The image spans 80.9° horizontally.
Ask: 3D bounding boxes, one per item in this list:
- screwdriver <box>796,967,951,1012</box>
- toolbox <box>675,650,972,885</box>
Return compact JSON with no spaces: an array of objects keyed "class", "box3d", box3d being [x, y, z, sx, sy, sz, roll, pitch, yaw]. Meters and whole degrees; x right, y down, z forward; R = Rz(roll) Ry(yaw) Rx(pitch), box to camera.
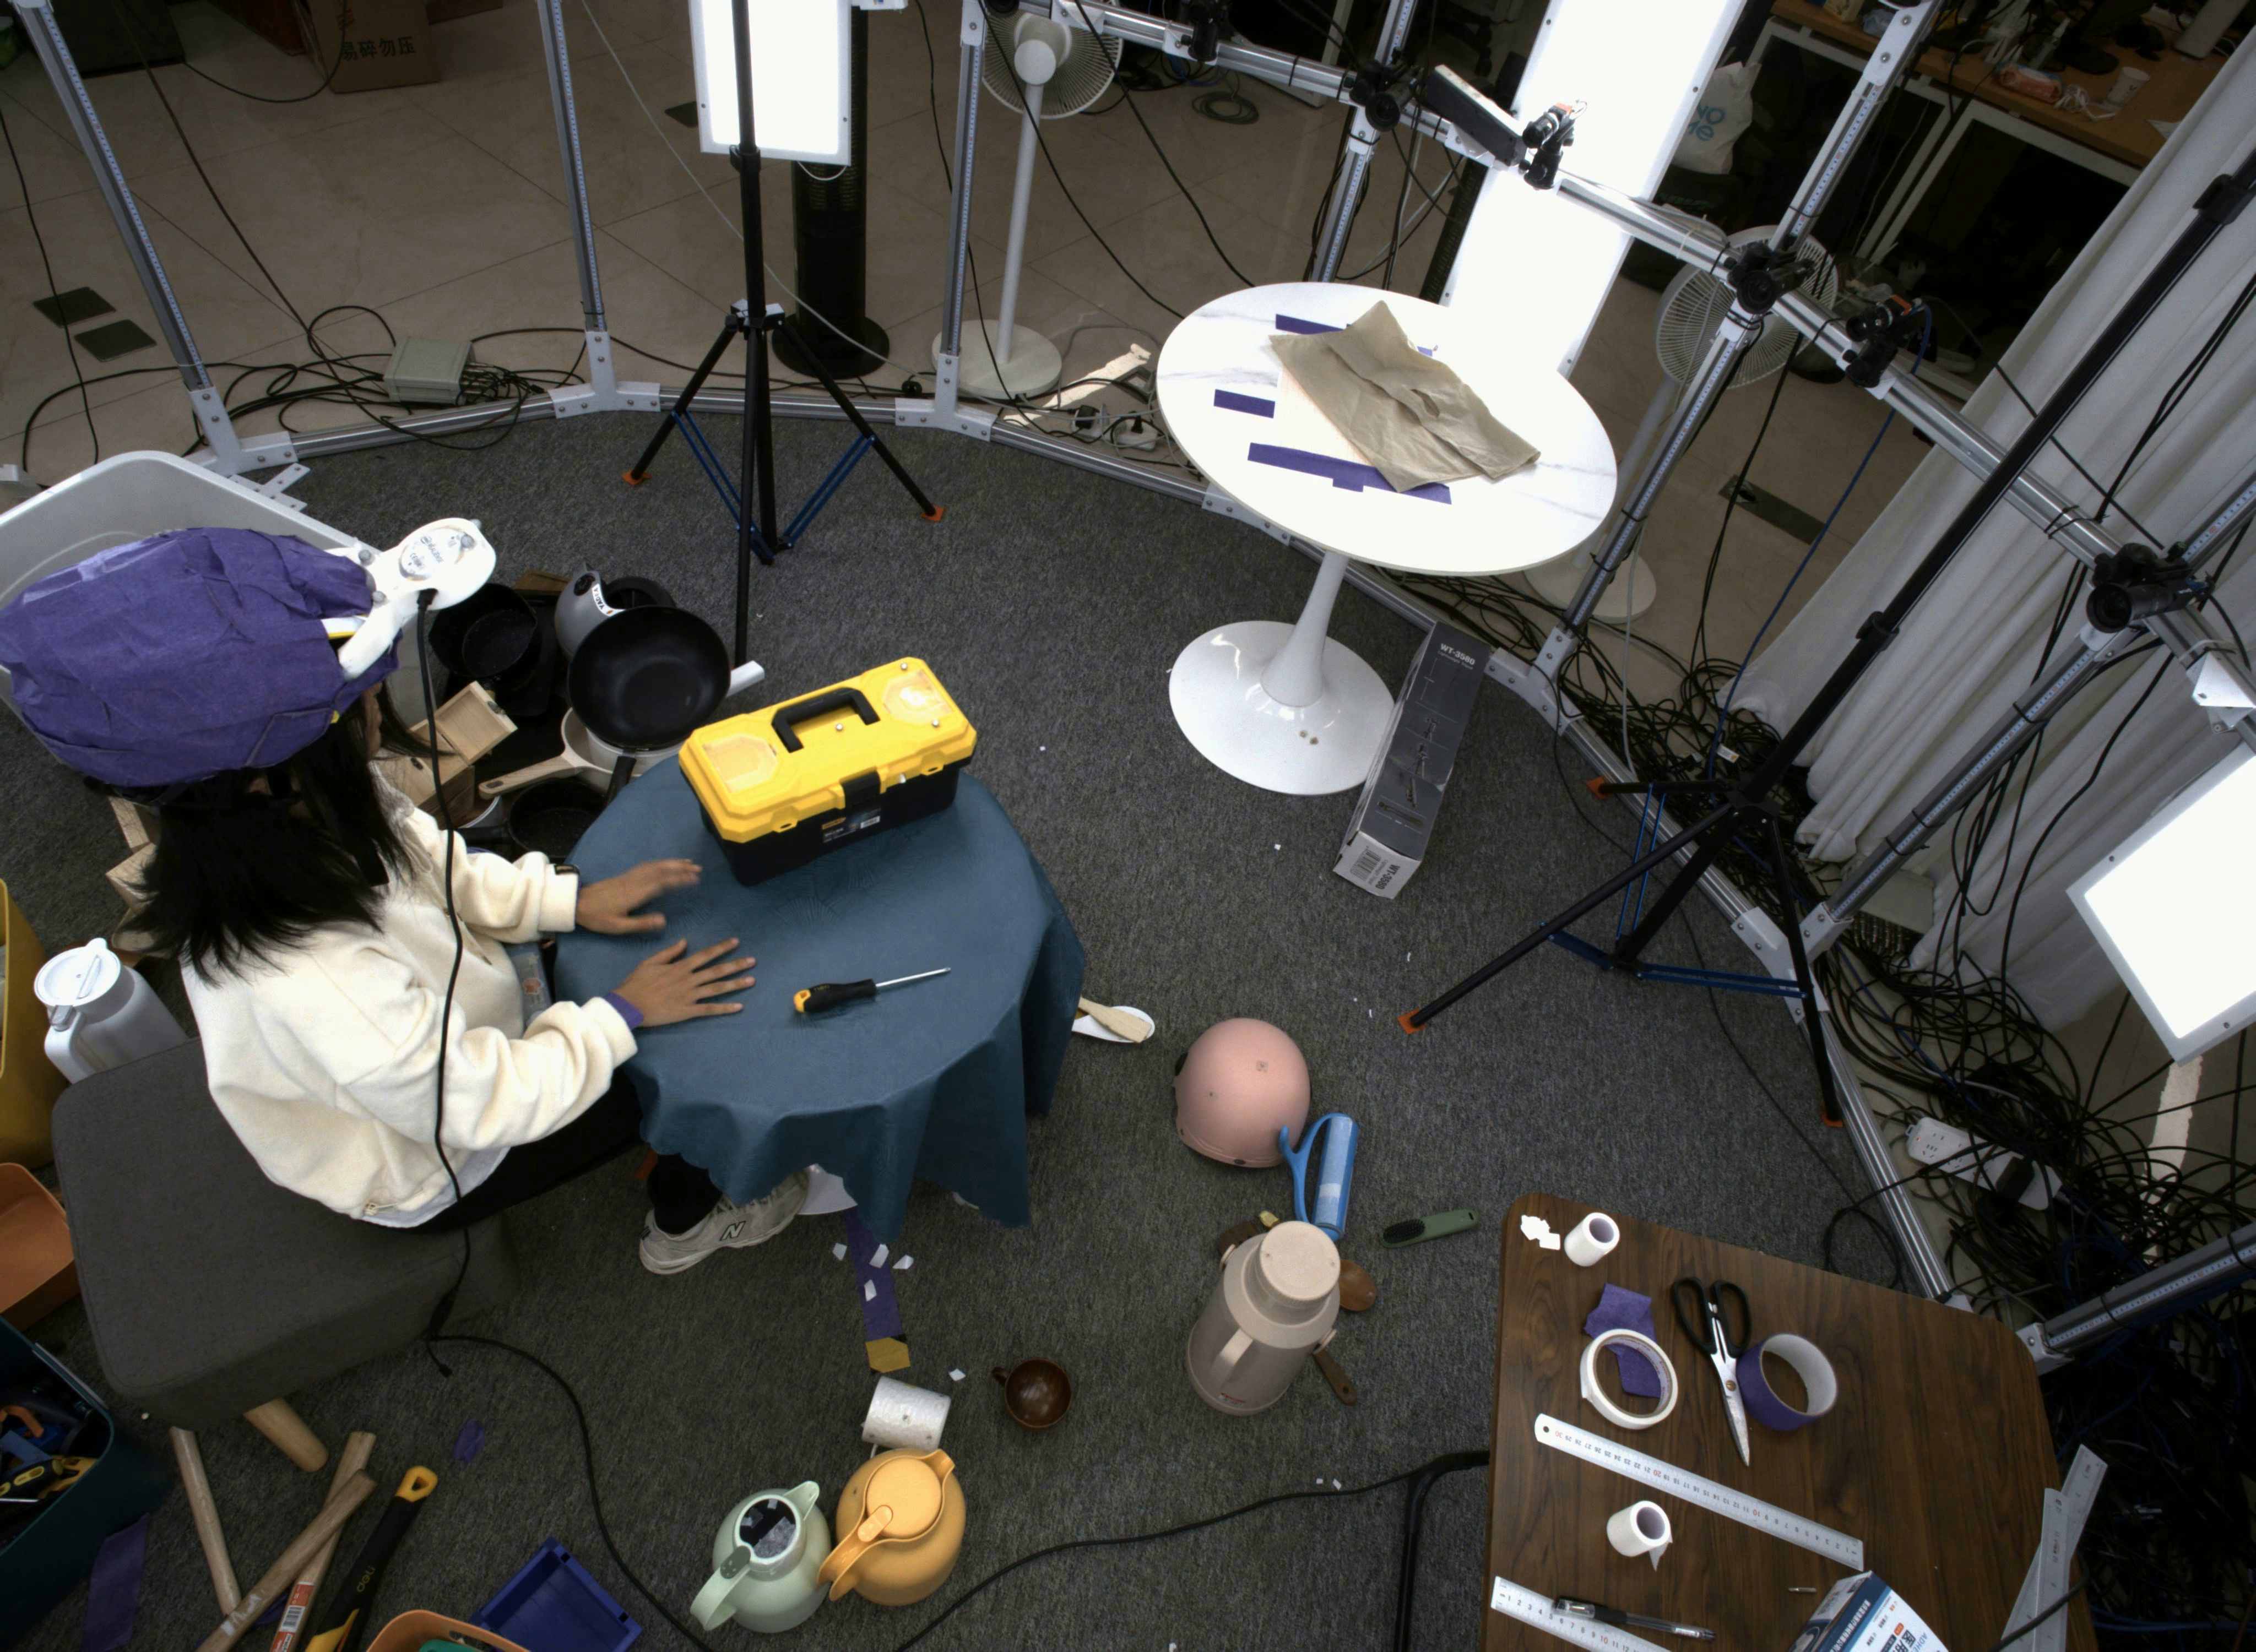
[{"class":"screwdriver","box3d":[-0.308,0.190,1.586,0.197,0.032,0.030,-13,56,-25]},{"class":"toolbox","box3d":[-0.386,-0.074,1.672,0.353,0.176,0.177,-24,61,-28]}]
